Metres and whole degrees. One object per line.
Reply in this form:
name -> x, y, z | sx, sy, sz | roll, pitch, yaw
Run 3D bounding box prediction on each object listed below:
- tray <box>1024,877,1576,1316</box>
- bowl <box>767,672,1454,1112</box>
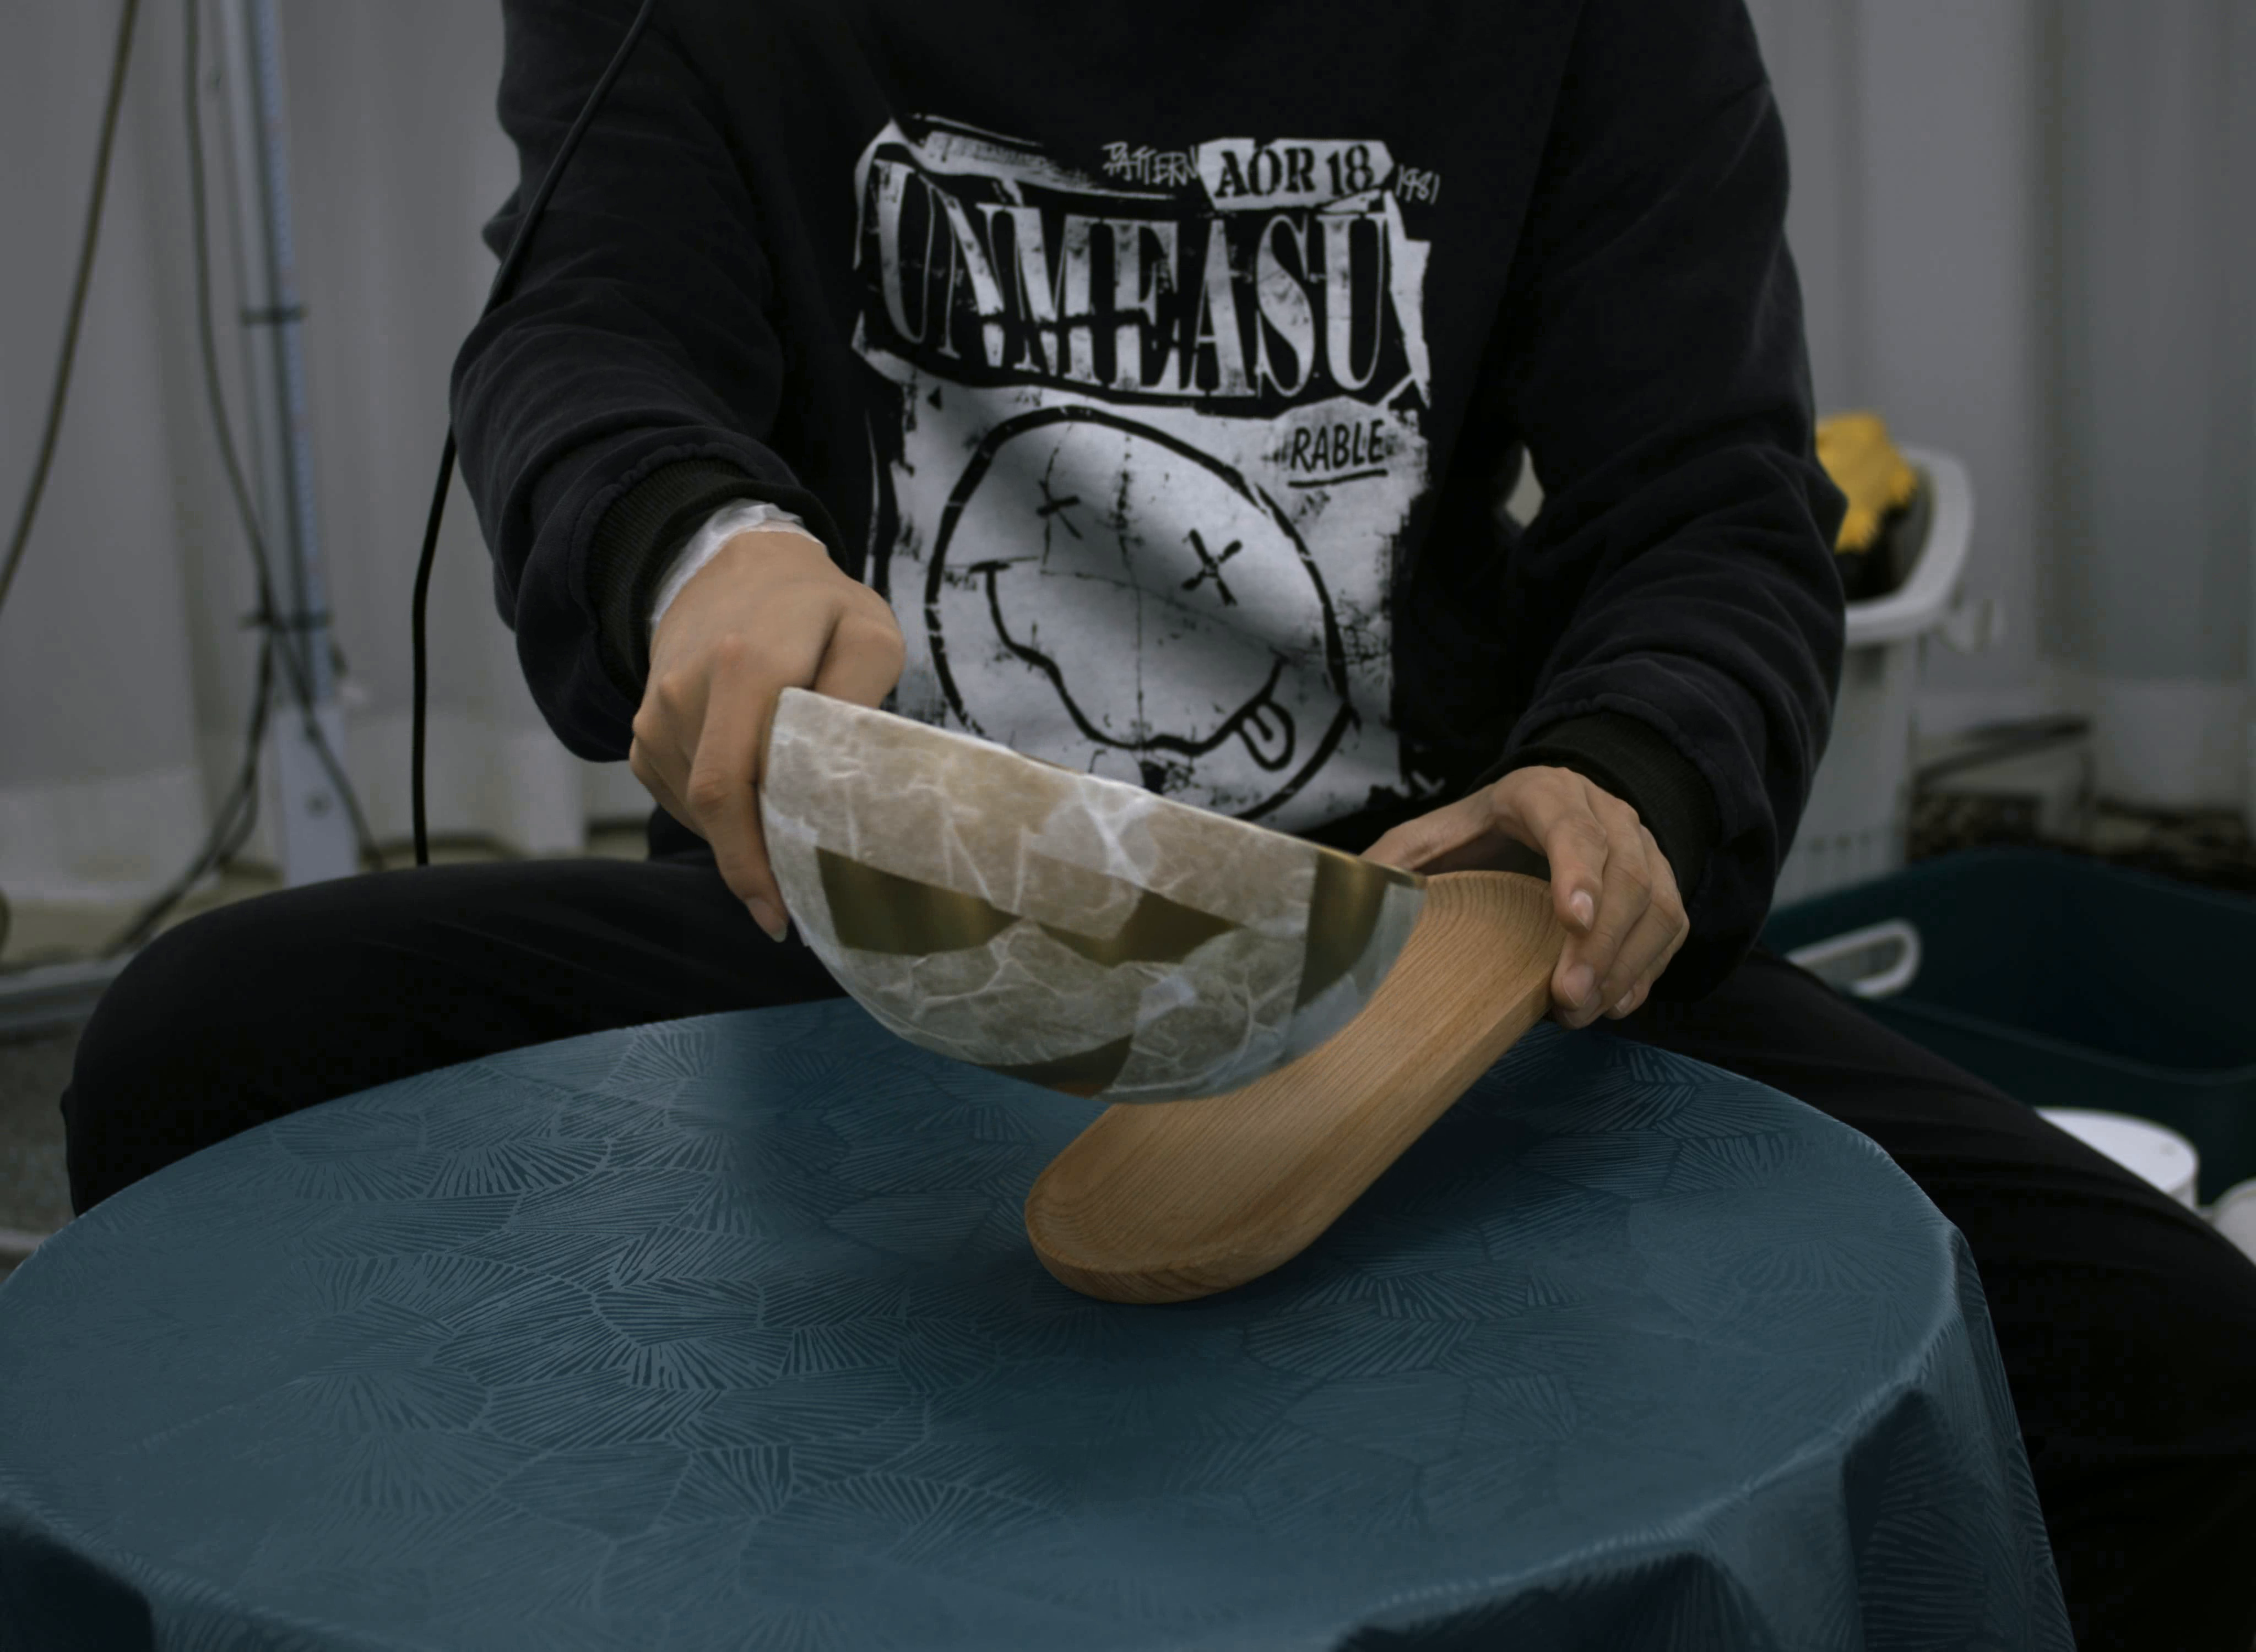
tray -> 0.056, 0.081, 1.683 | 0.102, 0.020, 0.232 | 3, 34, 39
bowl -> -0.015, 0.030, 1.597 | 0.214, 0.095, 0.214 | 17, -1, 0
